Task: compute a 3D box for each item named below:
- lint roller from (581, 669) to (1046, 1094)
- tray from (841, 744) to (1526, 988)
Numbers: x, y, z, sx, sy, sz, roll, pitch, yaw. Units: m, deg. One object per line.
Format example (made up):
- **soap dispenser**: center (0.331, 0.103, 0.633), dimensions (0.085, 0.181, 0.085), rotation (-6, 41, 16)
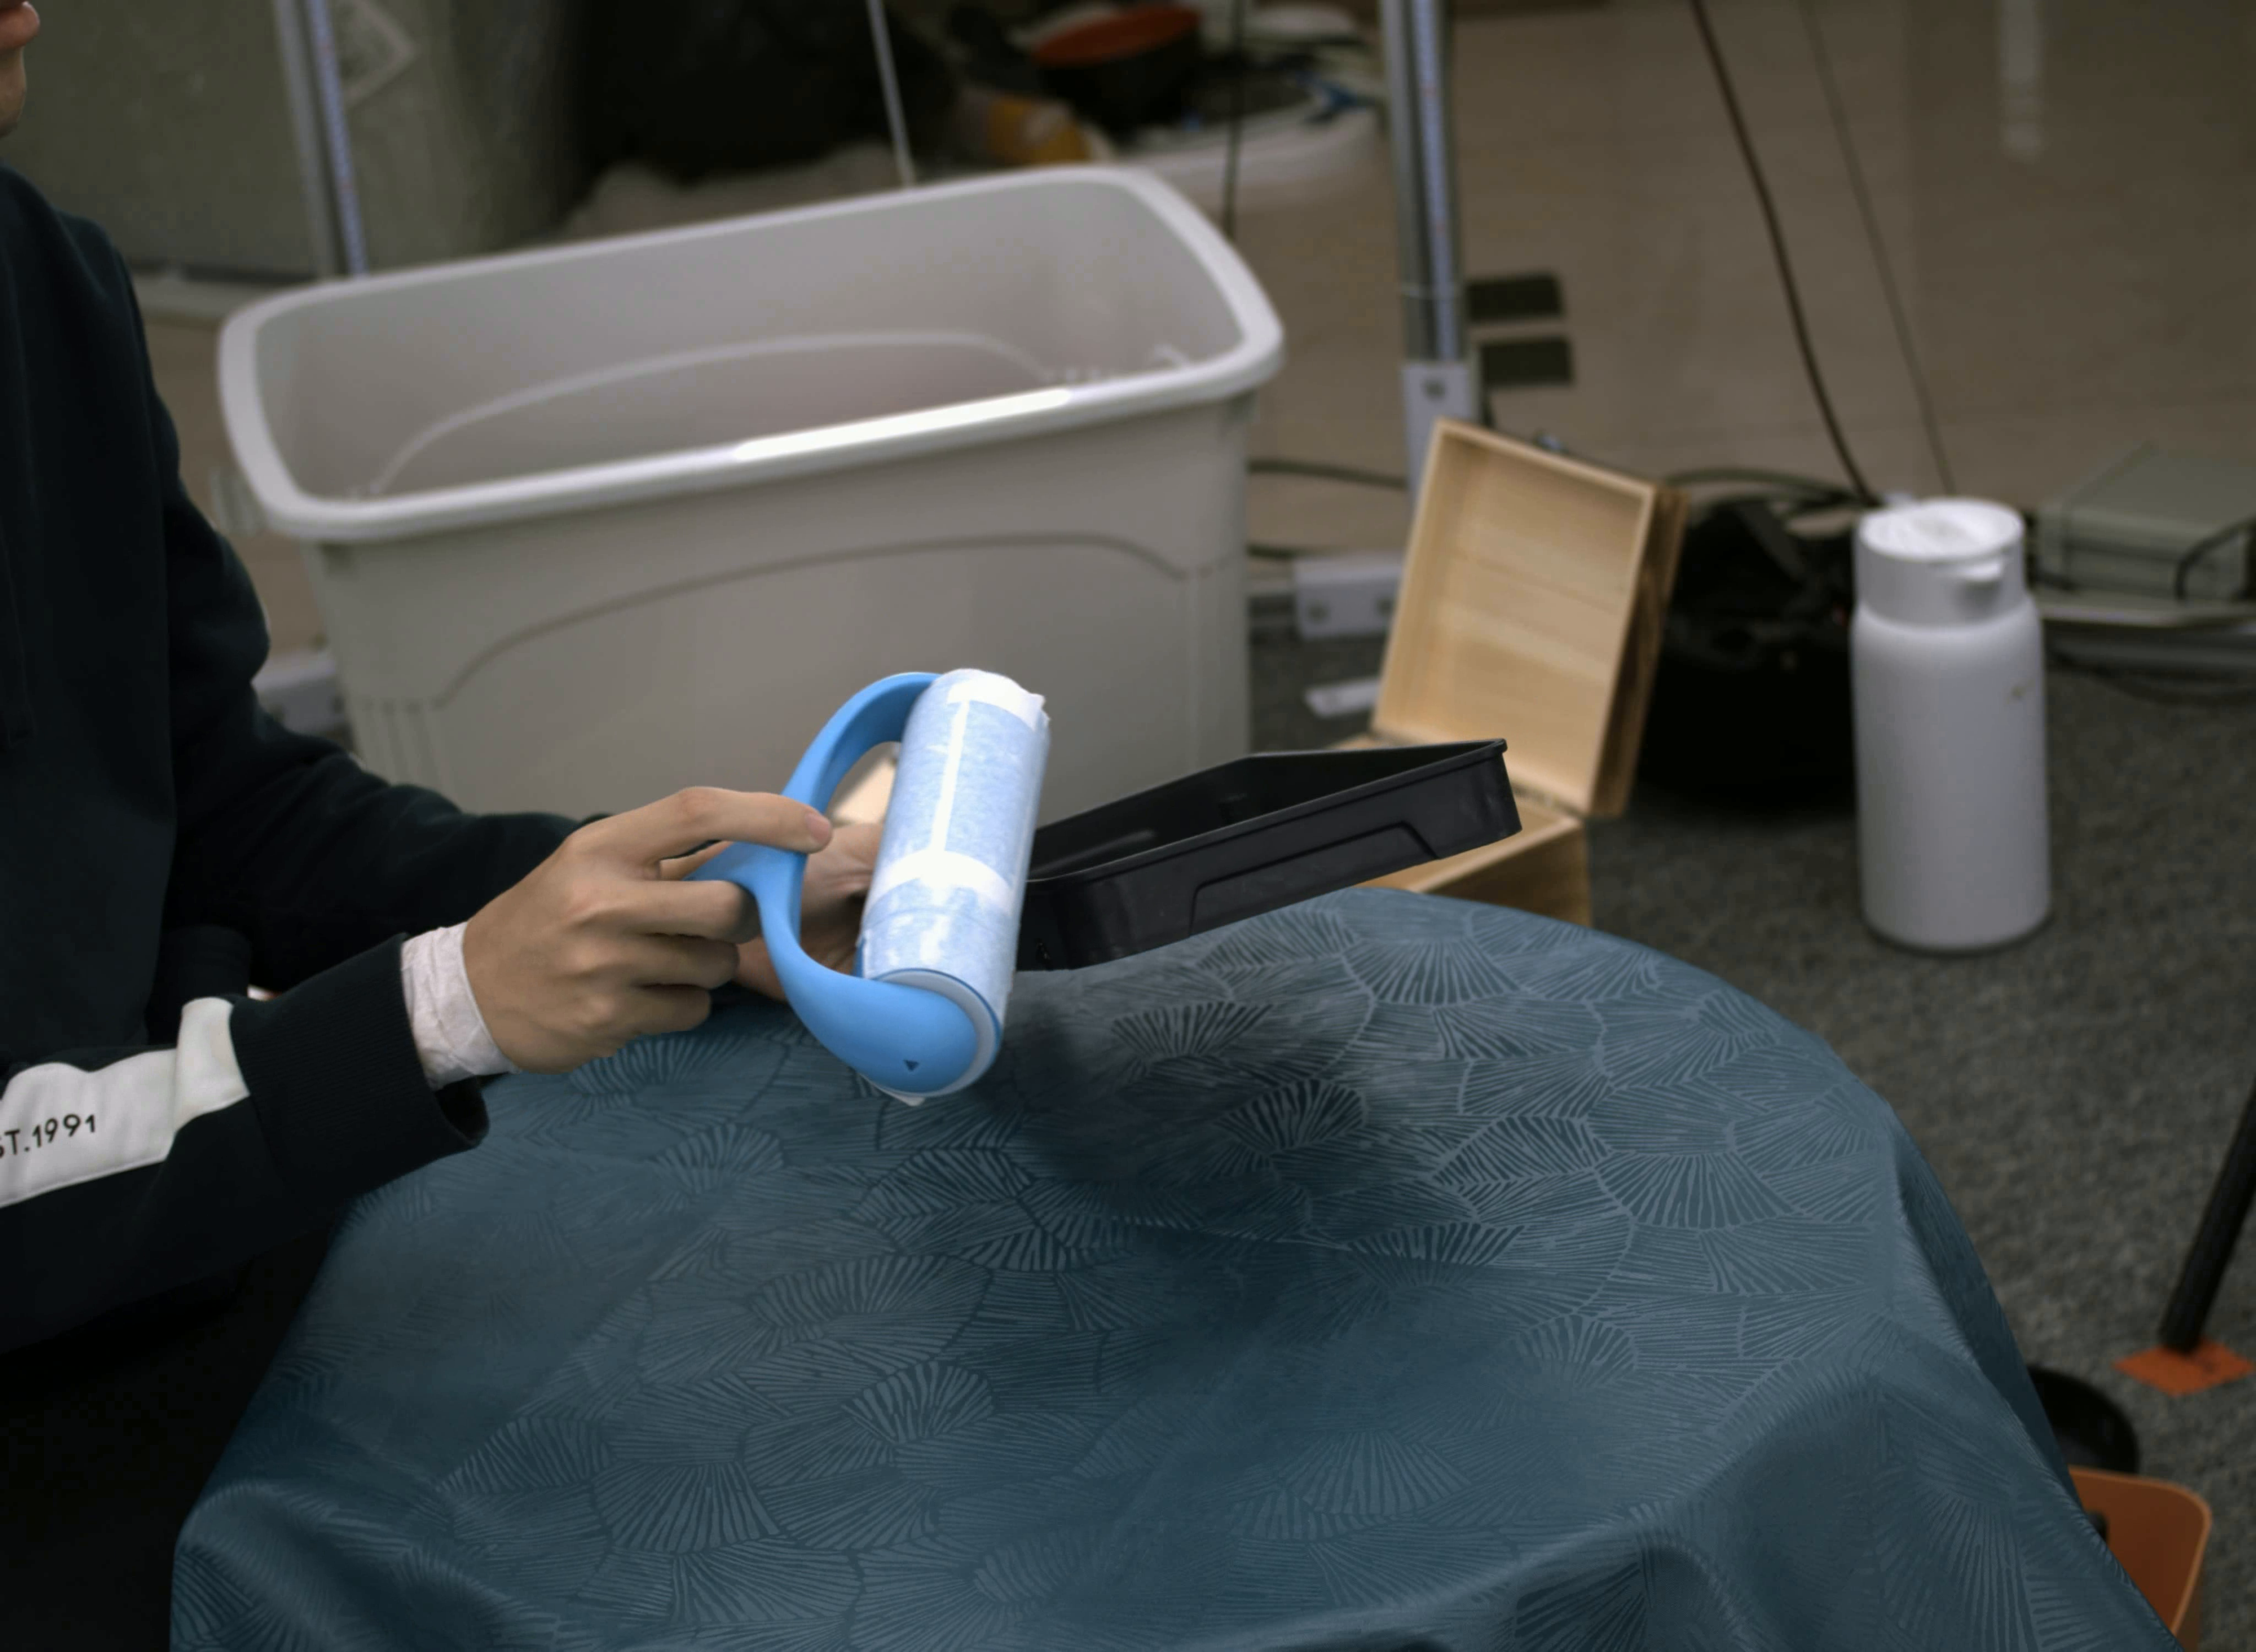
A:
- **lint roller**: center (-0.119, 0.032, 1.982), dimensions (0.180, 0.069, 0.225), rotation (-16, 32, 12)
- **tray**: center (0.016, 0.014, 2.160), dimensions (0.183, 0.037, 0.317), rotation (-19, 6, -17)
